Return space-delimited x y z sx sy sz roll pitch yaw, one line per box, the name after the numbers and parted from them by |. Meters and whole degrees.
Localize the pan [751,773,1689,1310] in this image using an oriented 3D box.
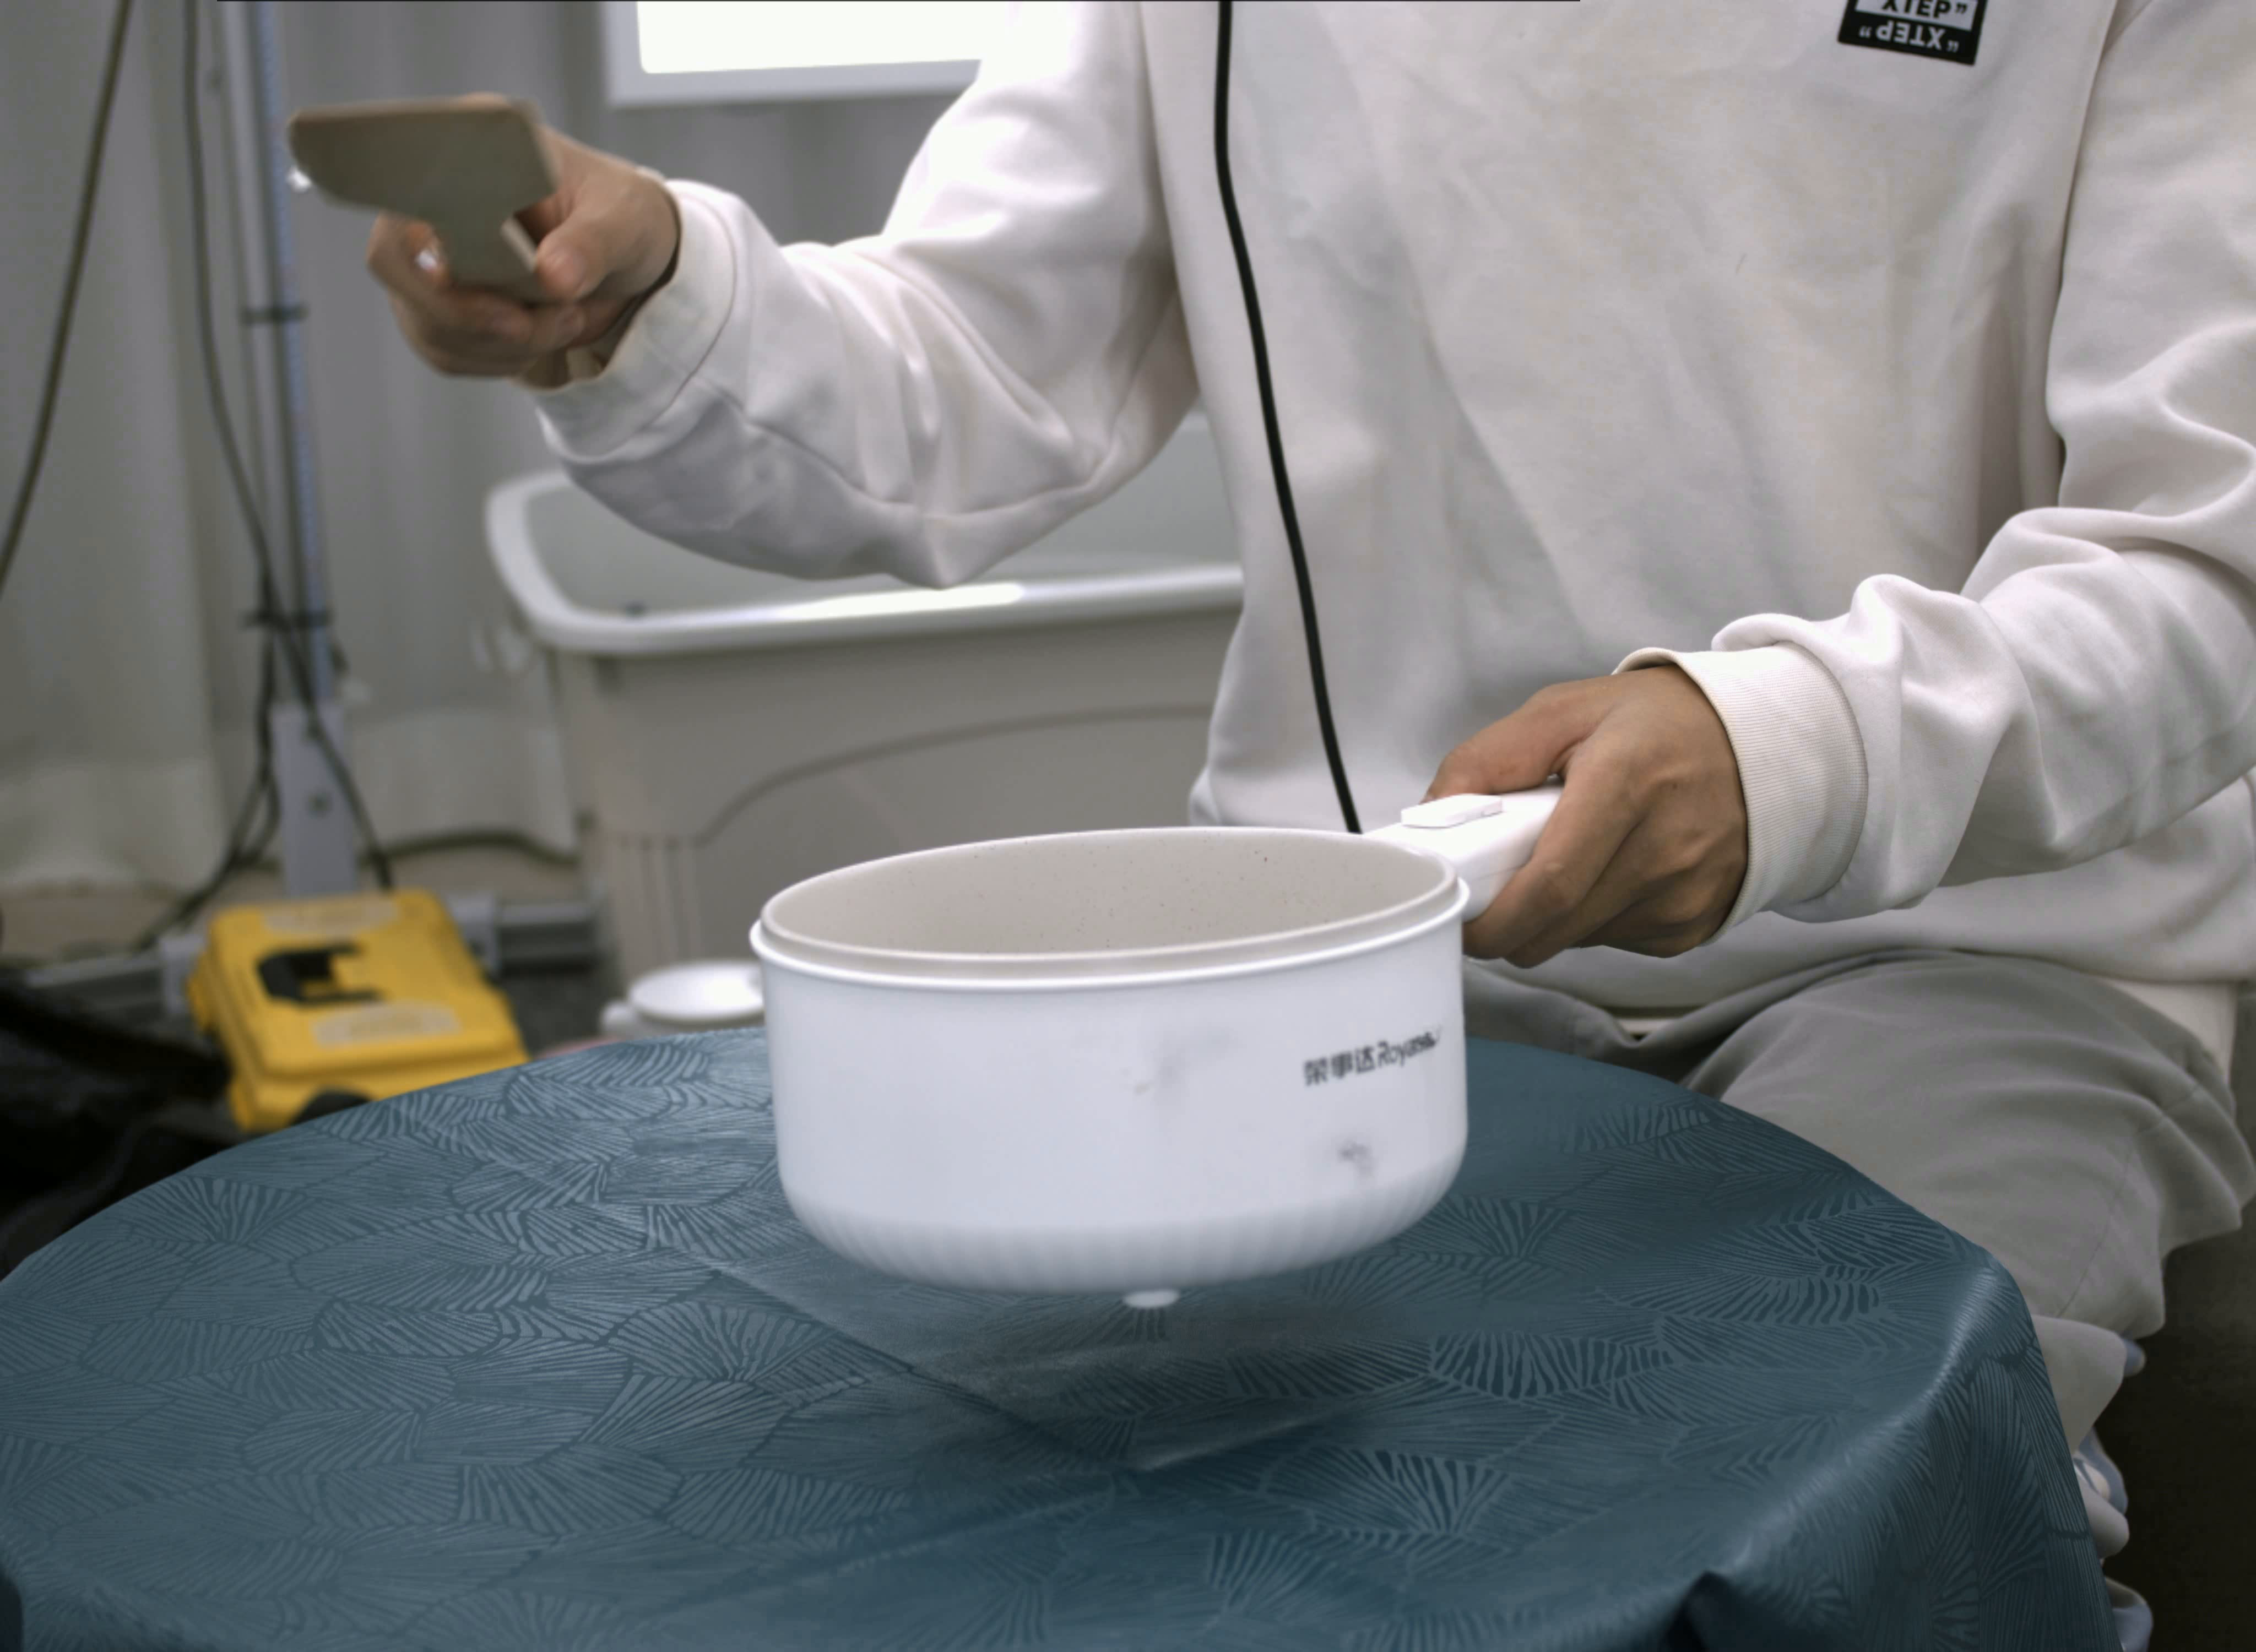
0.047 0.057 1.589 0.202 0.102 0.354 3 10 40 | pan

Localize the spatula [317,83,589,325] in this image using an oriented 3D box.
-0.194 -0.186 1.683 0.072 0.011 0.292 -3 -7 0 | spatula
